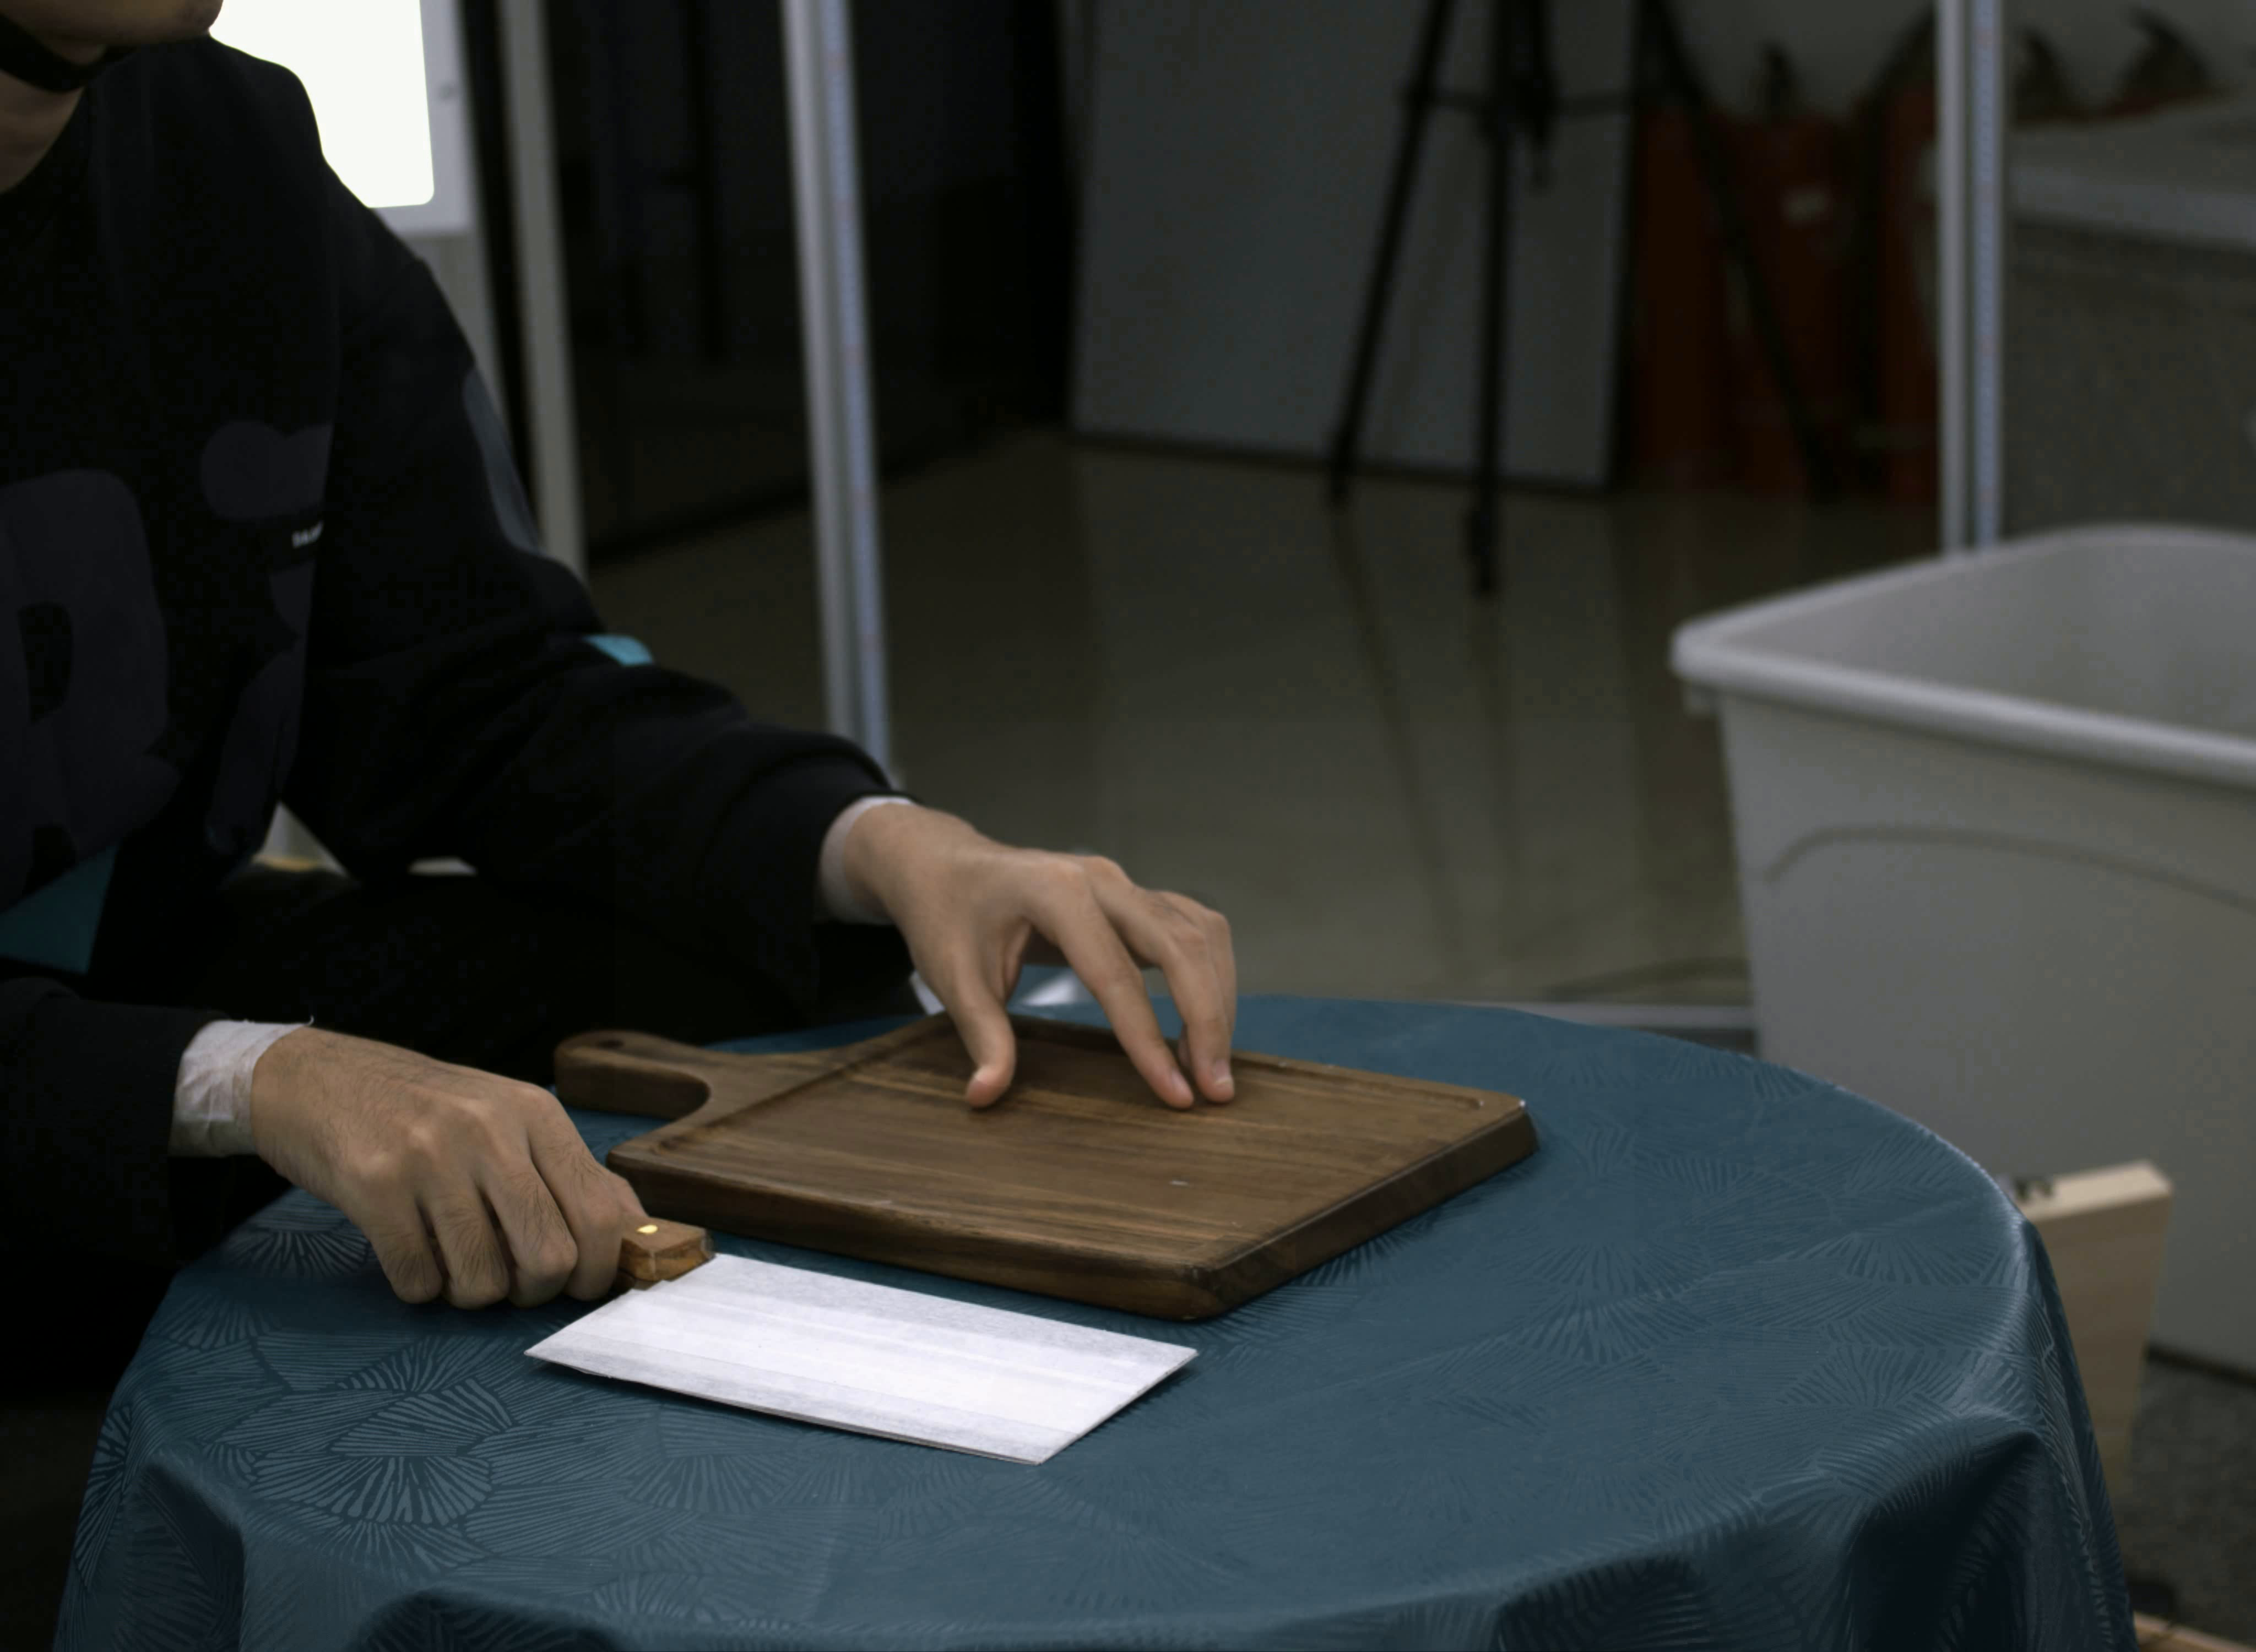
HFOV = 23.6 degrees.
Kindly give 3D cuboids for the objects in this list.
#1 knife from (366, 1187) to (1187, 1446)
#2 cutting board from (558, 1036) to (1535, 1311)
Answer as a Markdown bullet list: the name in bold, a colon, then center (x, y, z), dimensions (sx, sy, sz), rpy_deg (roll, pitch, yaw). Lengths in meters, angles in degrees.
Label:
- **knife**: center (-0.127, 0.152, 1.652), dimensions (0.307, 0.021, 0.091), rpy_deg (7, 22, 34)
- **cutting board**: center (-0.056, 0.108, 1.814), dimensions (0.354, 0.023, 0.197), rpy_deg (4, 15, 38)
